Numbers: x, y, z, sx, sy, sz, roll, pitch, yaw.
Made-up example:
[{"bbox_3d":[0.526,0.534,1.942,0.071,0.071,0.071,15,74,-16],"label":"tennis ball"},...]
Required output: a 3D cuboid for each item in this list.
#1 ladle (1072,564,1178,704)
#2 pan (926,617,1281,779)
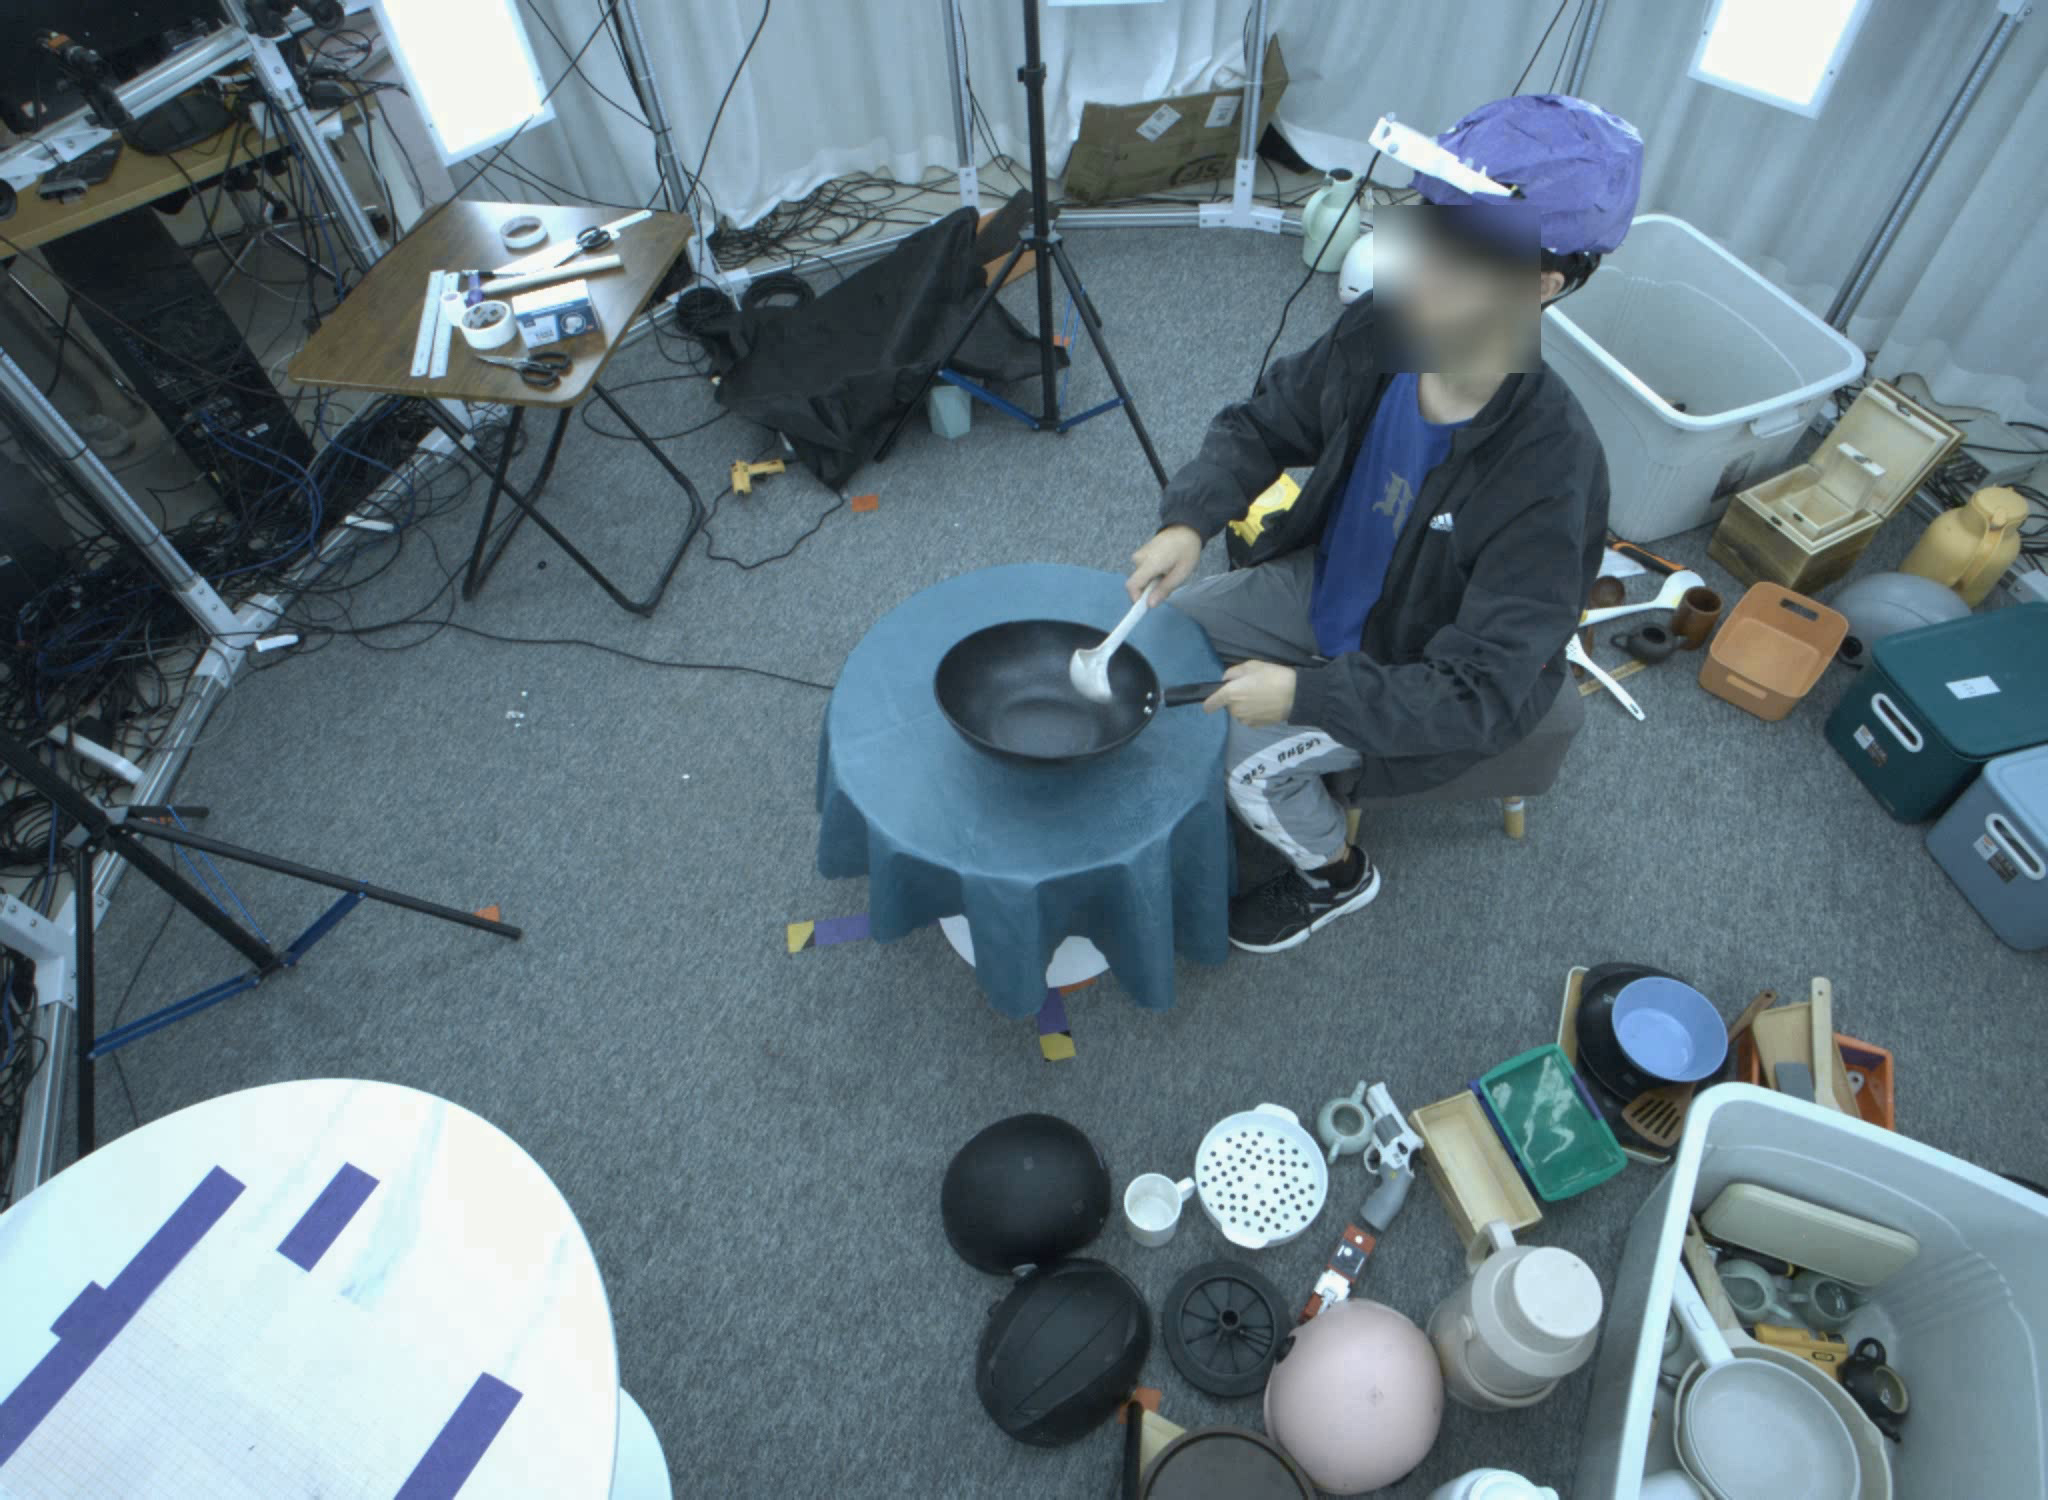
[{"bbox_3d":[0.160,-0.172,1.692,0.068,0.091,0.276,4,45,49],"label":"ladle"},{"bbox_3d":[0.105,-0.061,1.682,0.477,0.112,0.307,4,43,1],"label":"pan"}]
